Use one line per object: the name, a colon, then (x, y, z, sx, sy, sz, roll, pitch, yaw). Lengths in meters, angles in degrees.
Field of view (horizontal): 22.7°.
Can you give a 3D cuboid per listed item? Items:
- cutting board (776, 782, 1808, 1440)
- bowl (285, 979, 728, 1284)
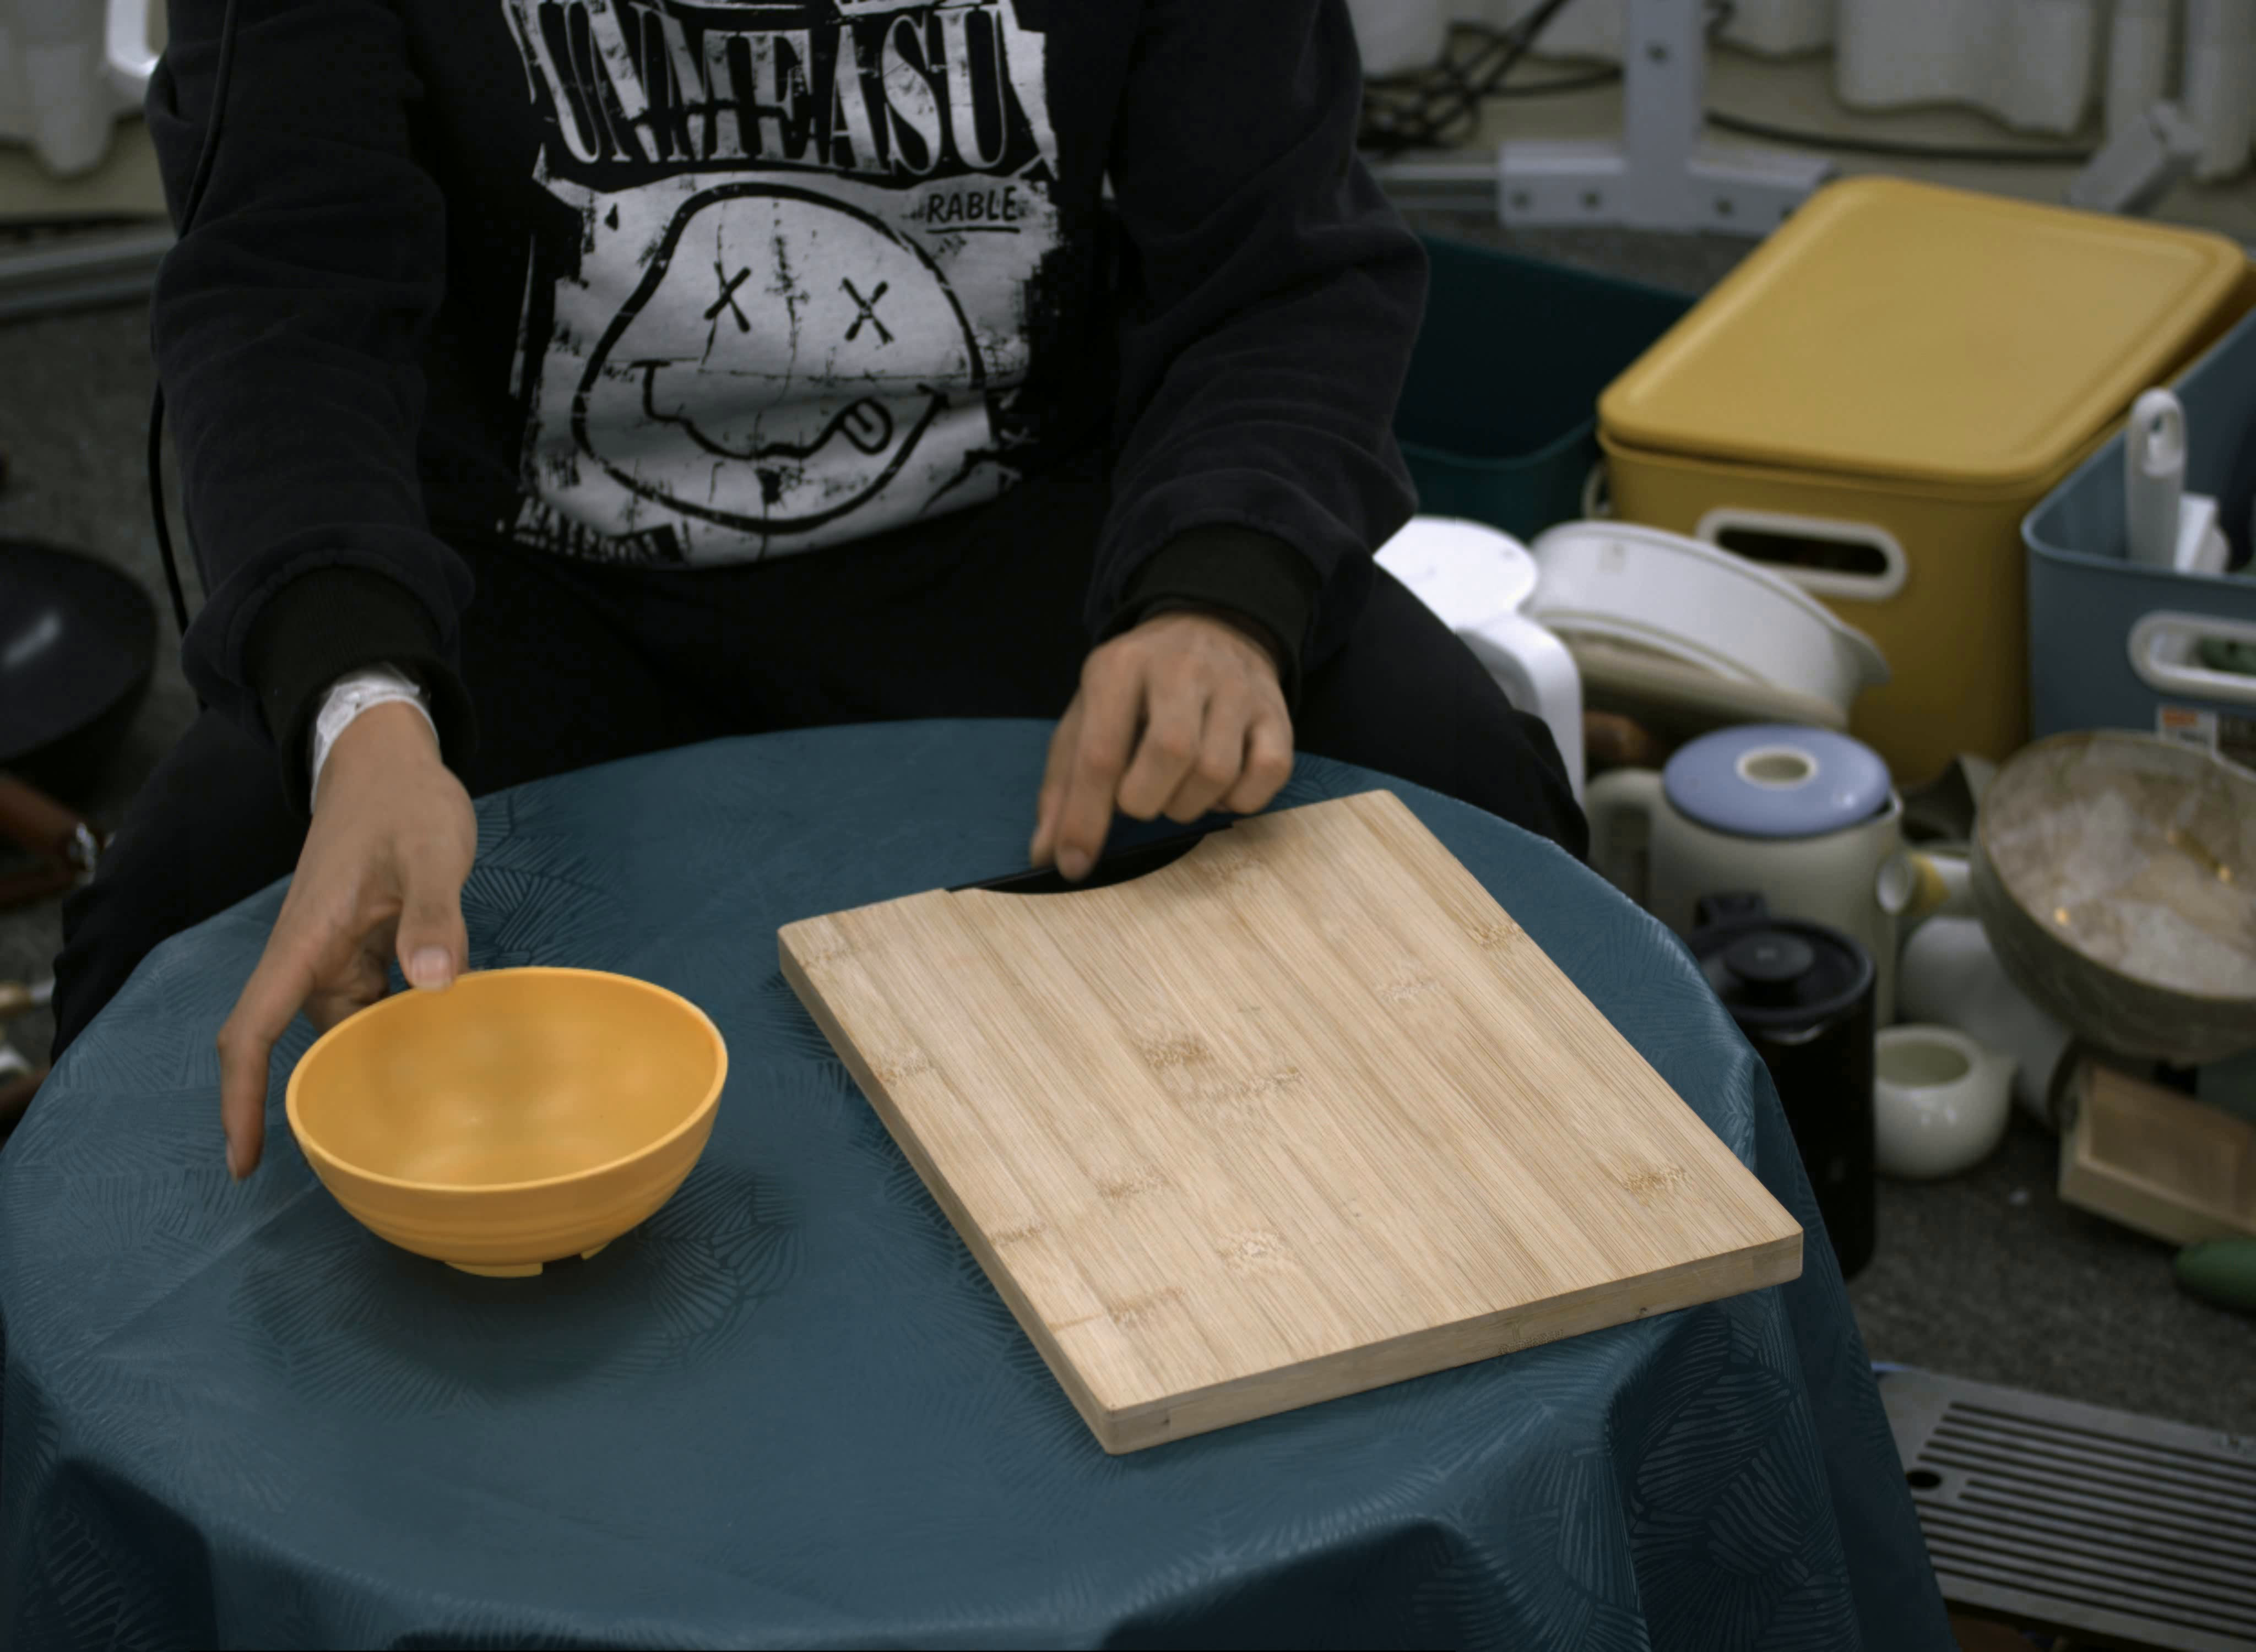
cutting board: (0.045, 0.089, 1.903, 0.251, 0.023, 0.351, -13, 29, -18)
bowl: (-0.202, 0.109, 1.846, 0.144, 0.059, 0.147, -1, 25, 1)
